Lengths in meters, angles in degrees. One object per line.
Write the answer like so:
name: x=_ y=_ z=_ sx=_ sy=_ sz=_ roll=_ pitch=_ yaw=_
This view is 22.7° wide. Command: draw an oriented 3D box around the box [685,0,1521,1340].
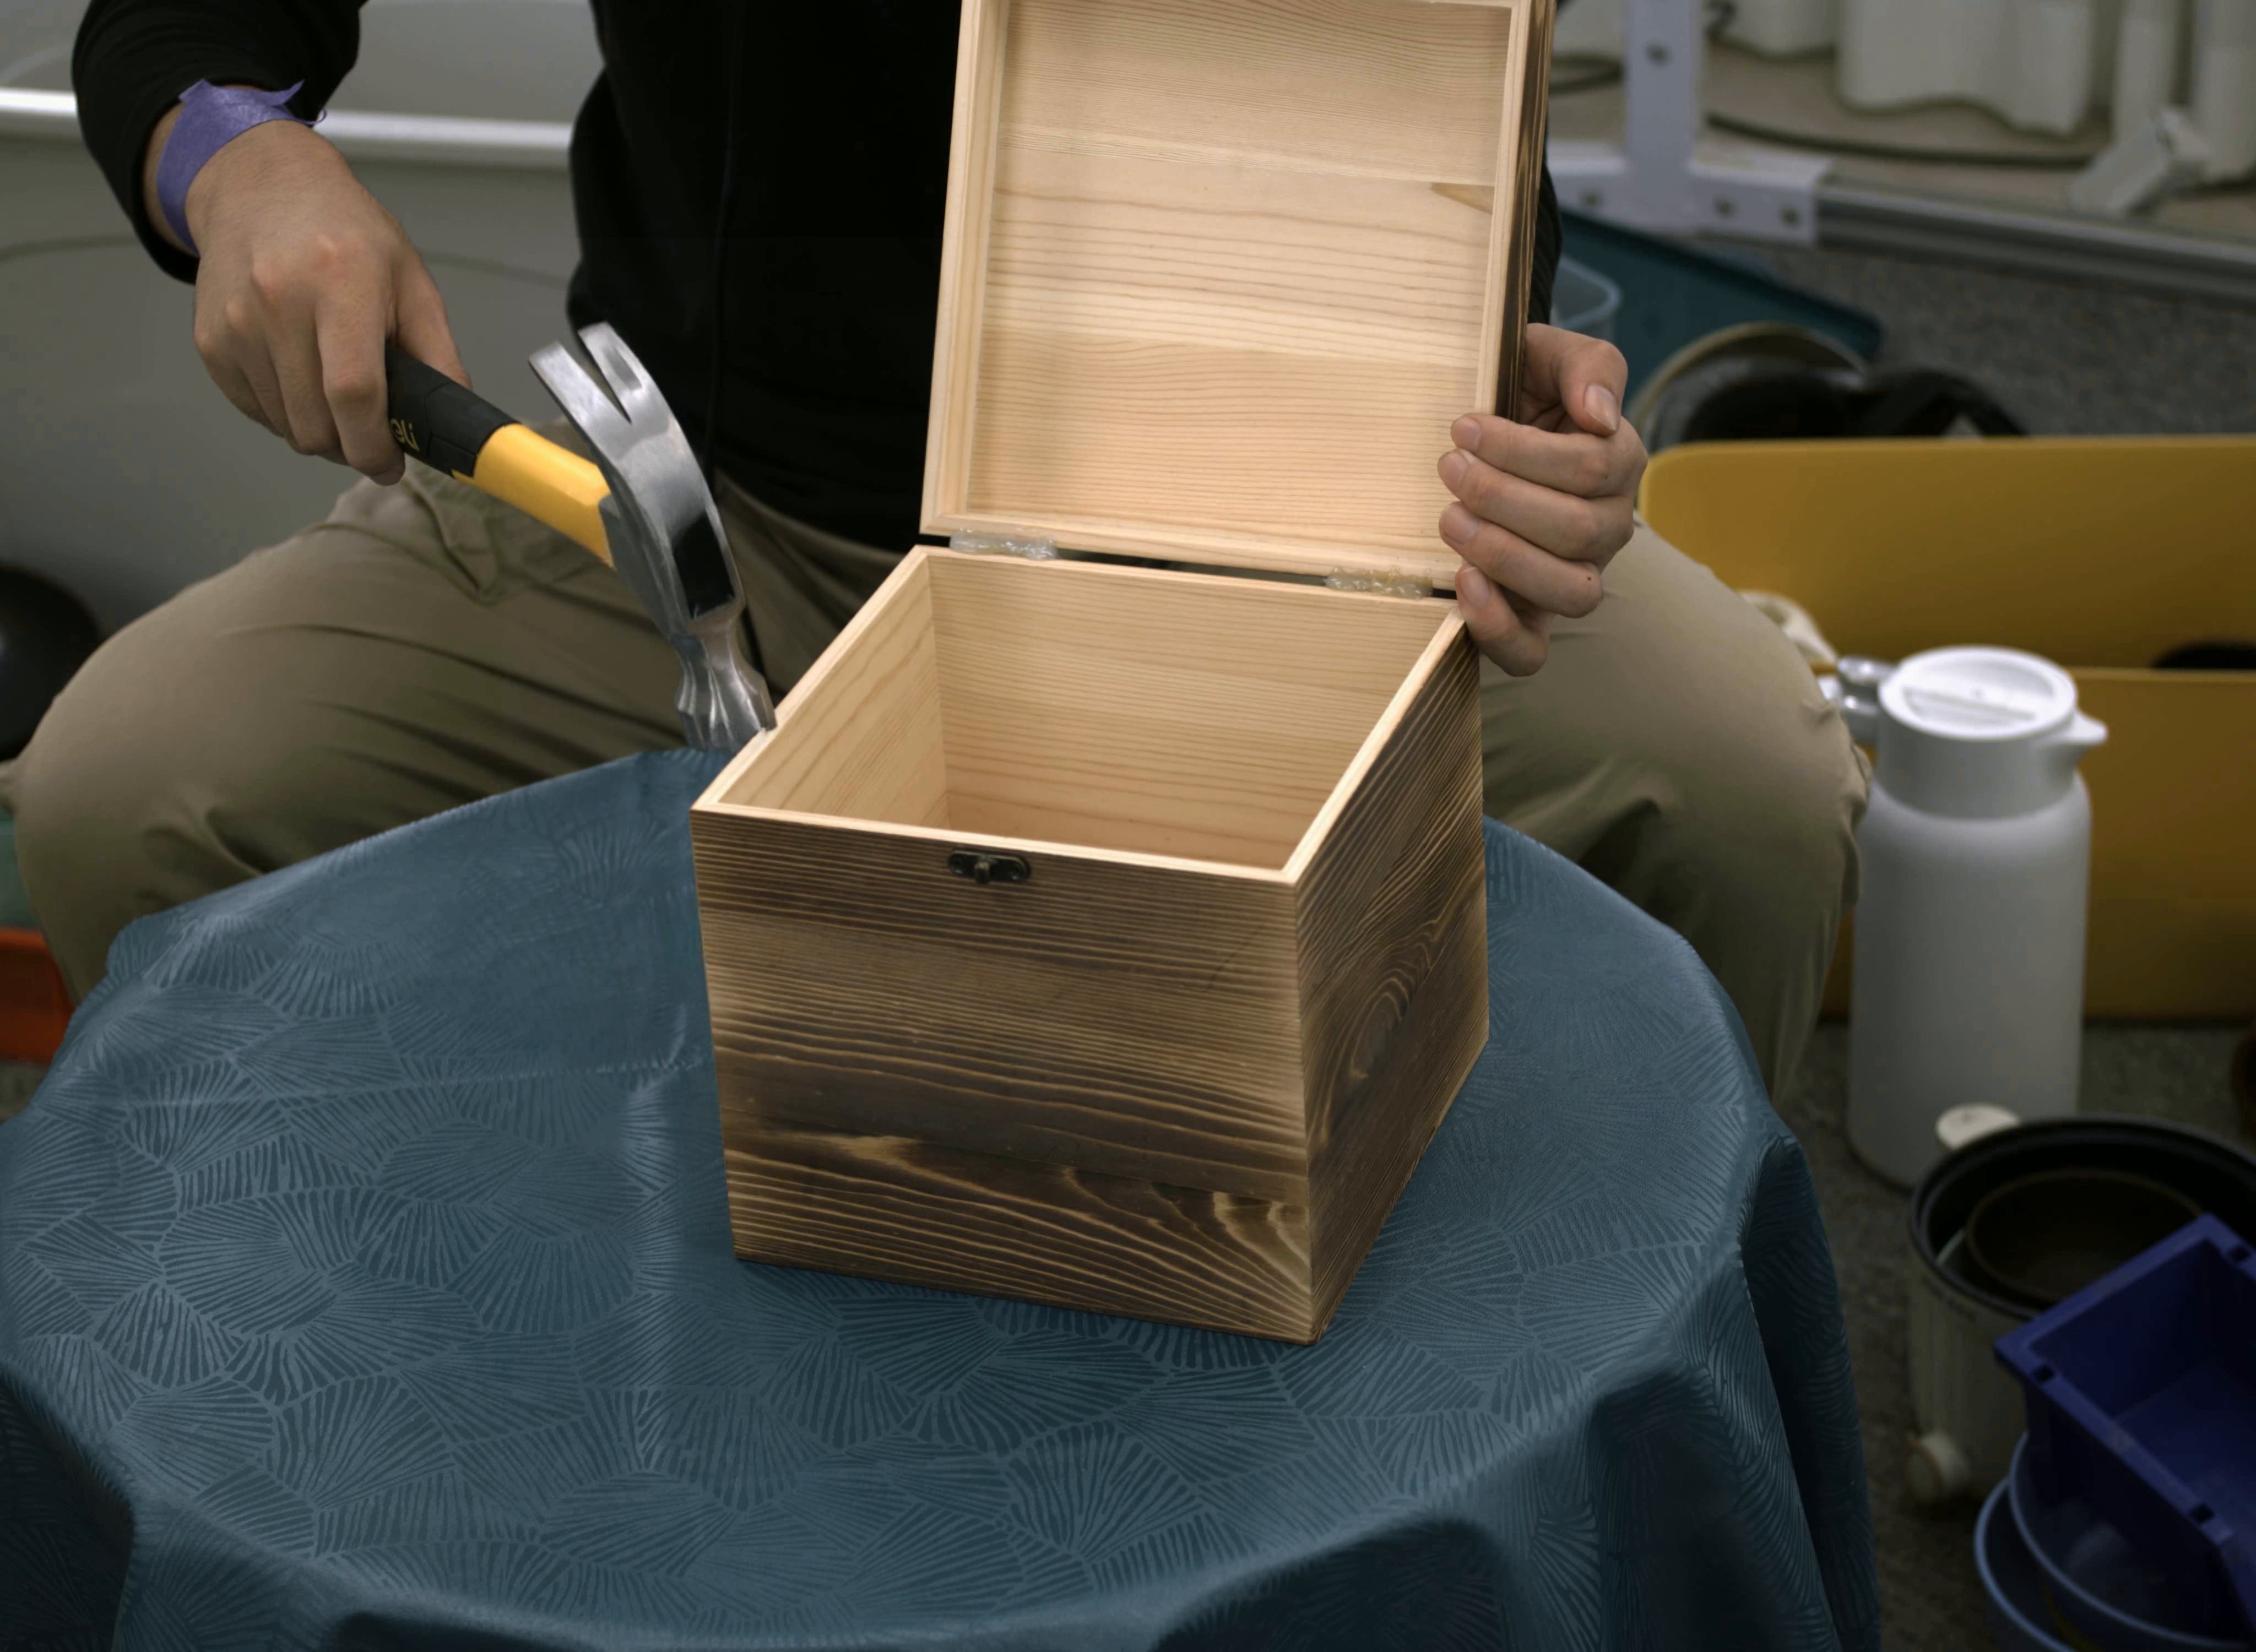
box: x=0.003 y=-0.077 z=1.847 sx=0.207 sy=0.371 sz=0.328 roll=6 pitch=29 yaw=18

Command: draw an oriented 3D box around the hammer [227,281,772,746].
hammer: x=-0.222 y=-0.131 z=1.897 sx=0.032 sy=0.130 sz=0.338 roll=-26 pitch=28 yaw=-24
